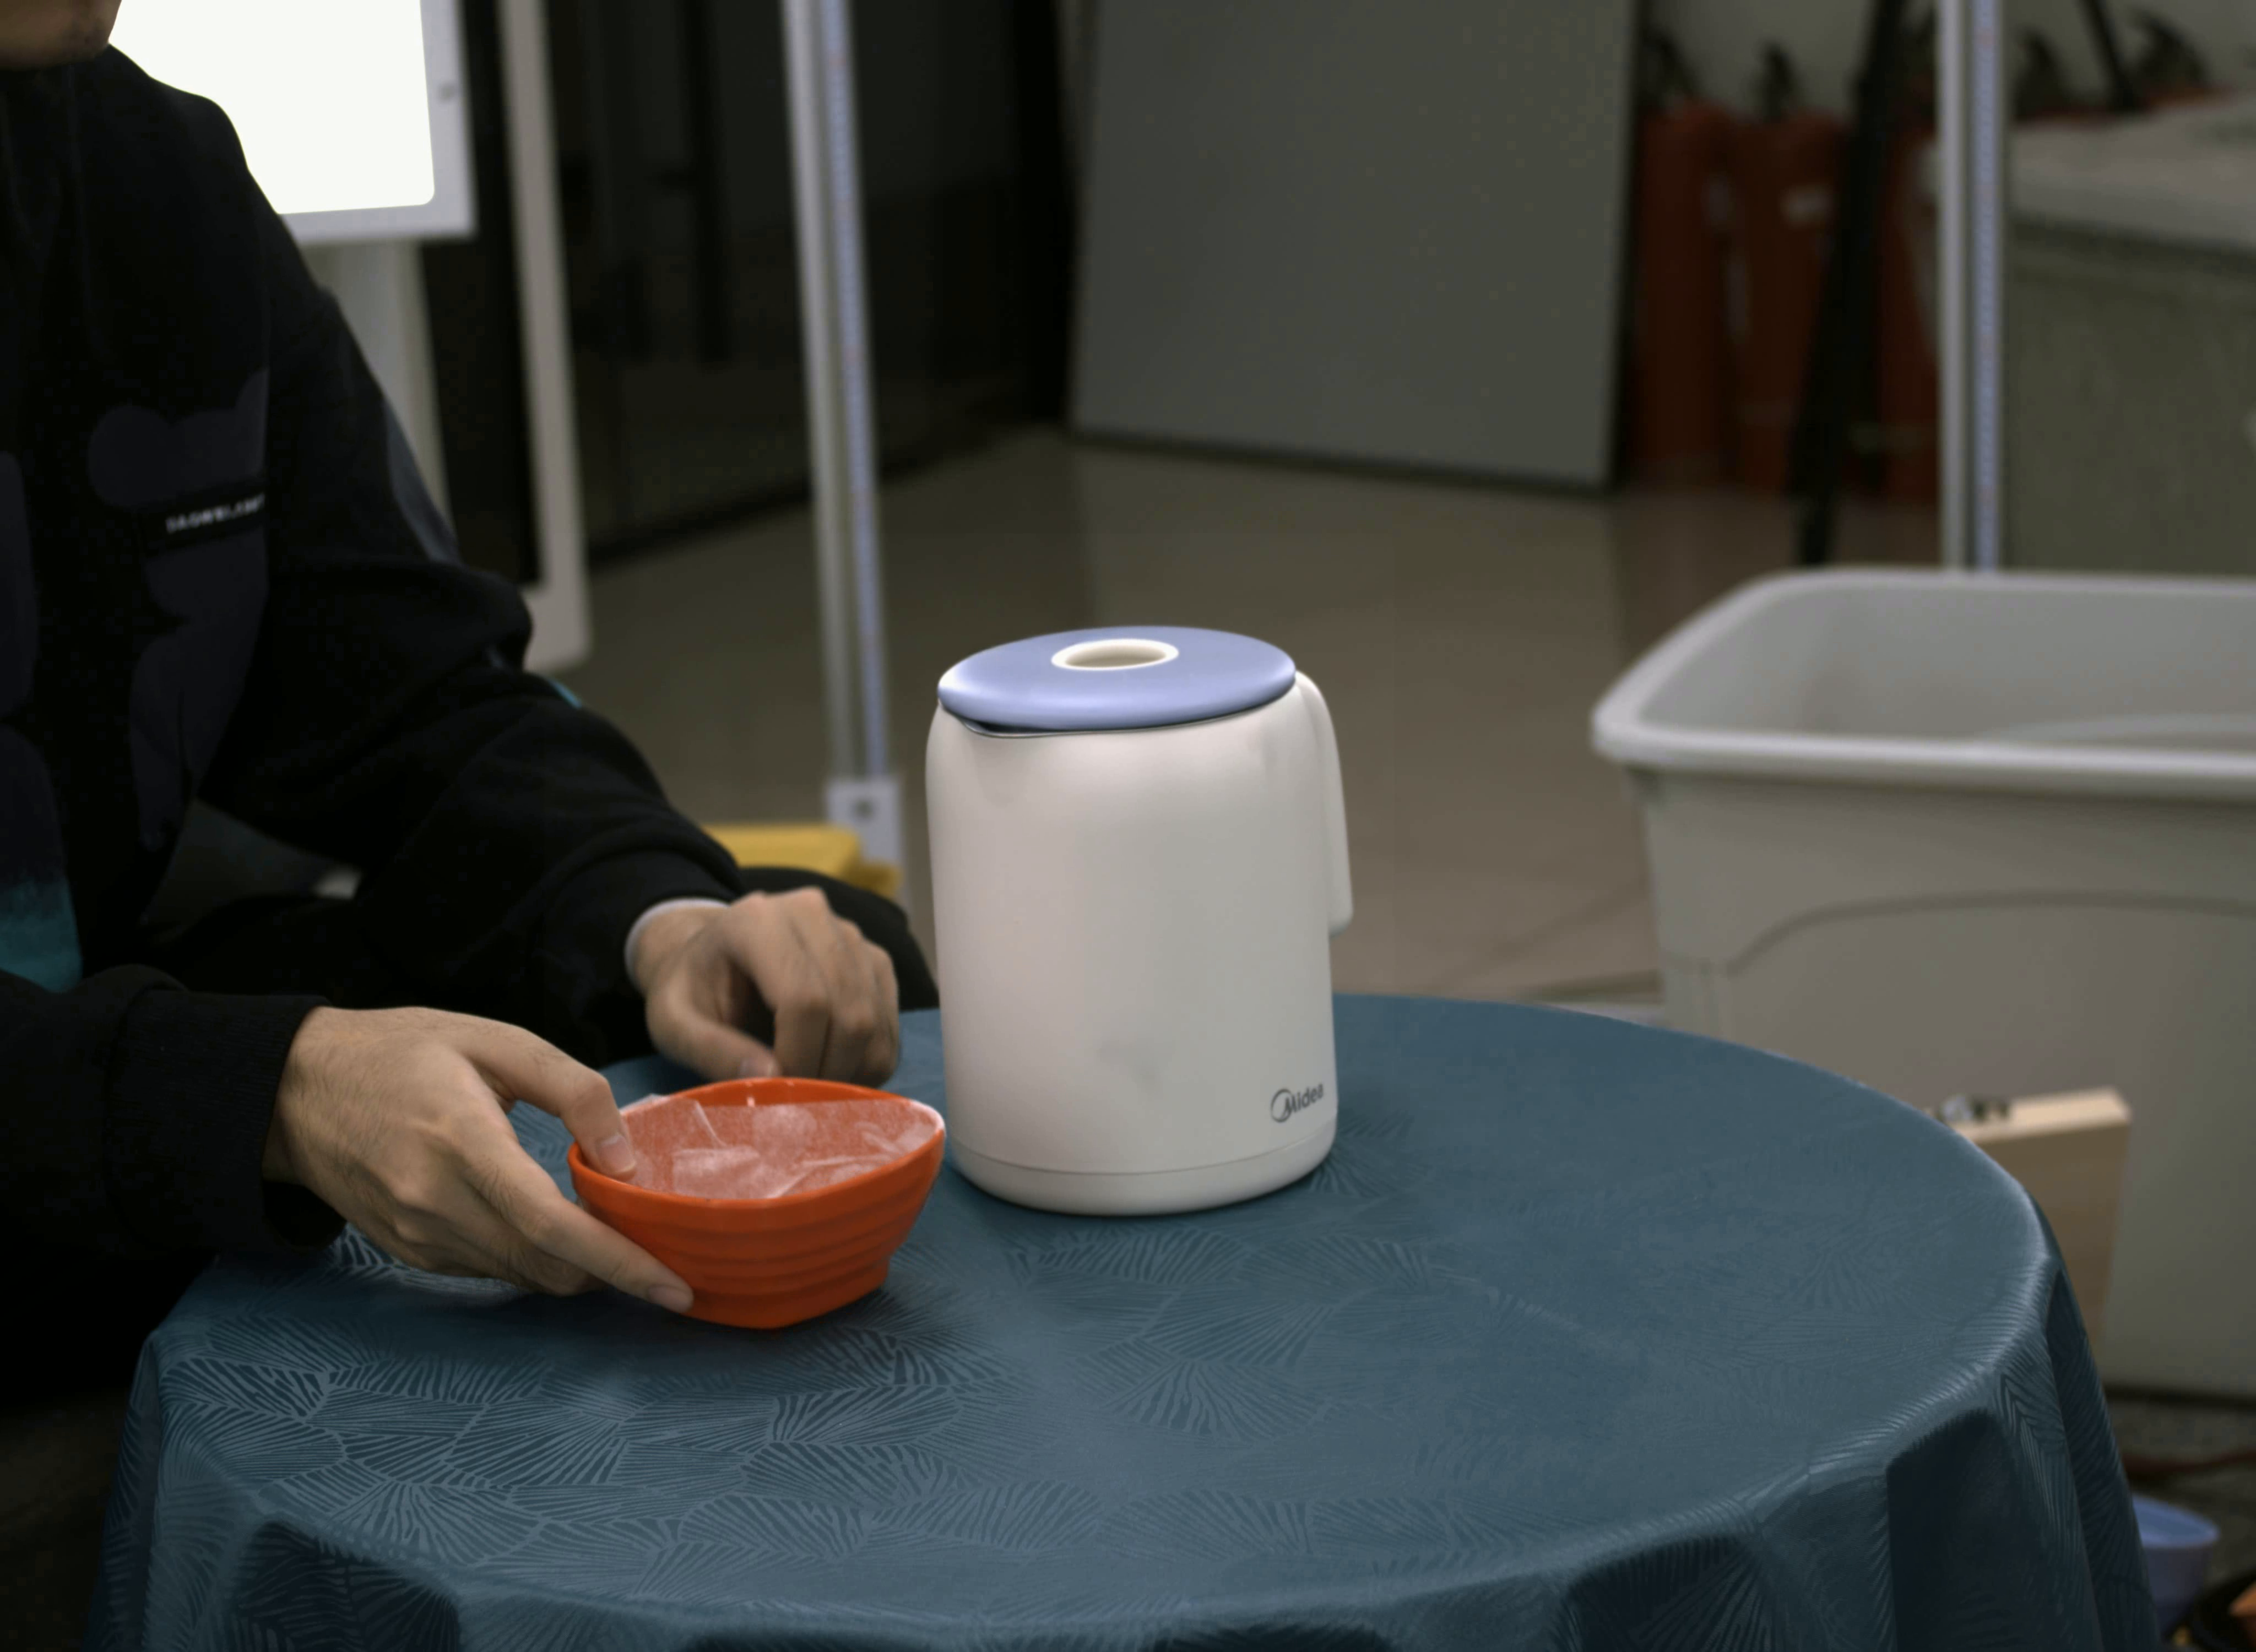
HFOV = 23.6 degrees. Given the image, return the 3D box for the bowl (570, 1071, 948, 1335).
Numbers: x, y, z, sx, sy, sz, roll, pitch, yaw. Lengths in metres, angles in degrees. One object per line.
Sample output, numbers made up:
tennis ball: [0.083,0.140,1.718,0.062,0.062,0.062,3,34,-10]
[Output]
bowl: [-0.113,0.120,1.682,0.117,0.052,0.119,-3,18,0]

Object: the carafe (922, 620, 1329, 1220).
carafe: [0.013,0.025,1.799,0.133,0.184,0.187,7,15,35]
